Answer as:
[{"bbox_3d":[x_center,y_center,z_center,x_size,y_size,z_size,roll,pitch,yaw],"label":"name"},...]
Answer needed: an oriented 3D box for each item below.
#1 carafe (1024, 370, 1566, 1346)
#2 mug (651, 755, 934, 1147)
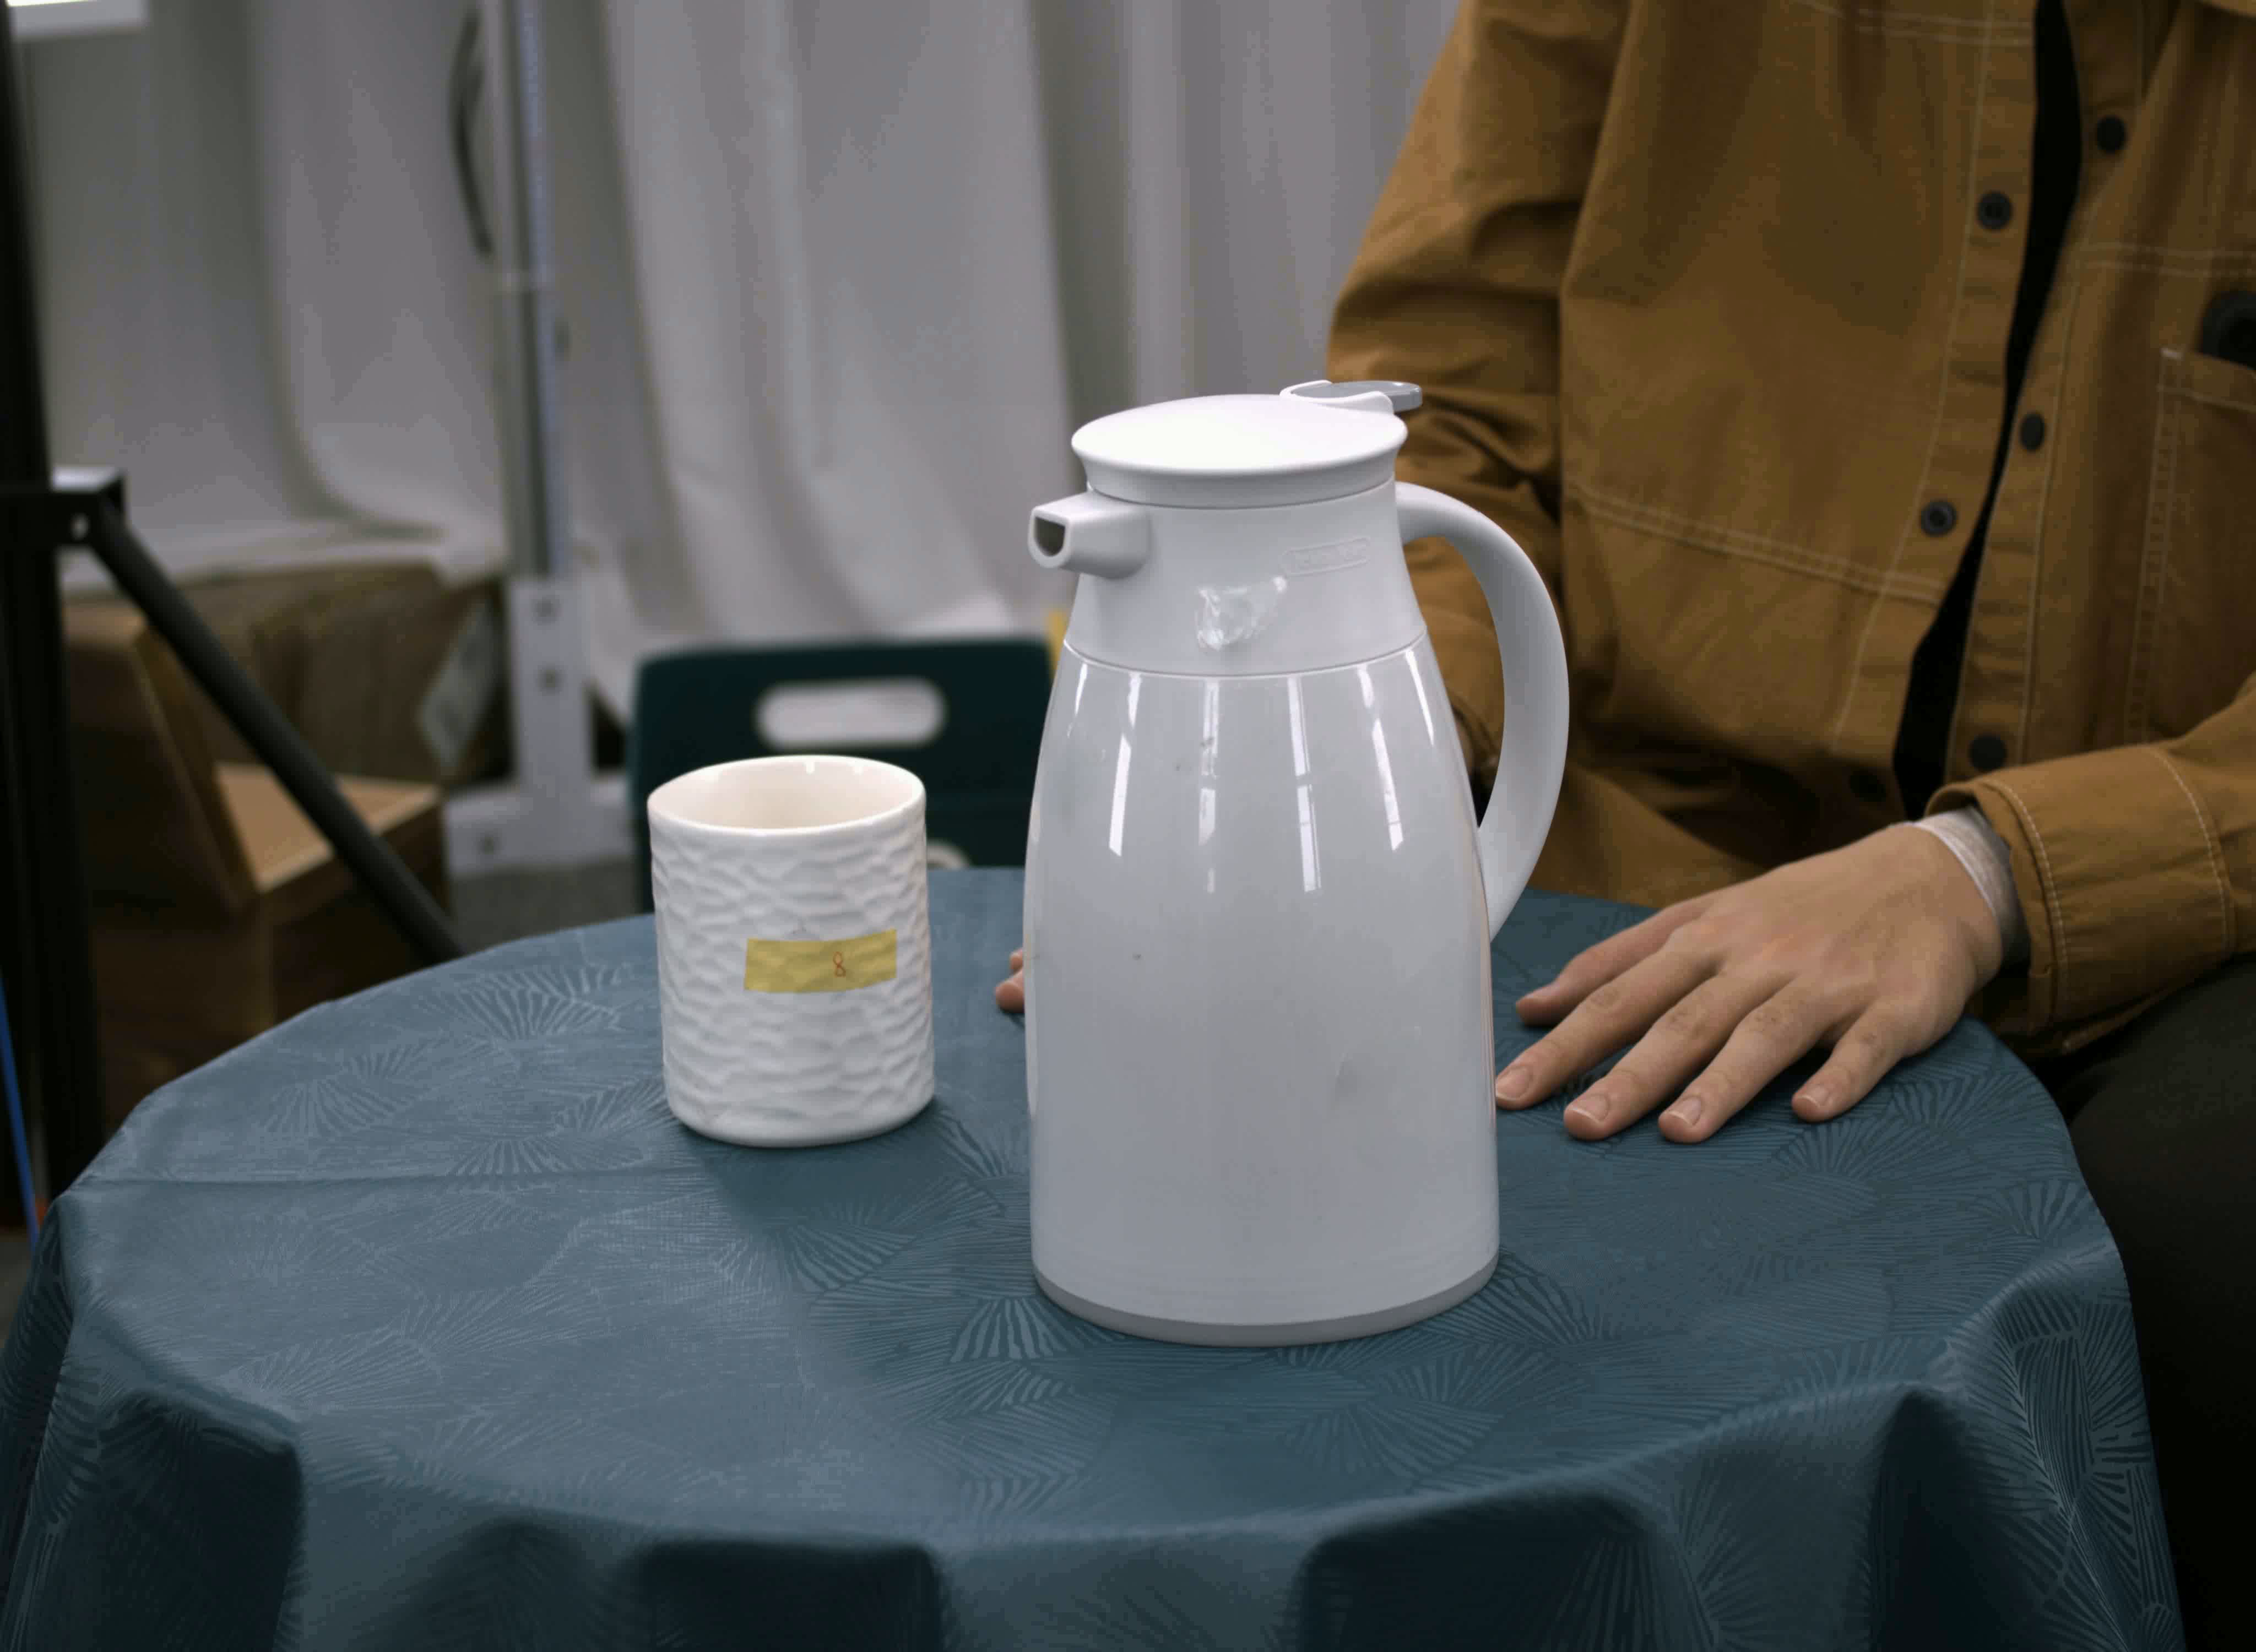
[{"bbox_3d":[0.050,0.001,1.471,0.164,0.248,0.135,-11,17,-31],"label":"carafe"},{"bbox_3d":[-0.101,0.034,1.647,0.085,0.102,0.118,0,15,5],"label":"mug"}]
